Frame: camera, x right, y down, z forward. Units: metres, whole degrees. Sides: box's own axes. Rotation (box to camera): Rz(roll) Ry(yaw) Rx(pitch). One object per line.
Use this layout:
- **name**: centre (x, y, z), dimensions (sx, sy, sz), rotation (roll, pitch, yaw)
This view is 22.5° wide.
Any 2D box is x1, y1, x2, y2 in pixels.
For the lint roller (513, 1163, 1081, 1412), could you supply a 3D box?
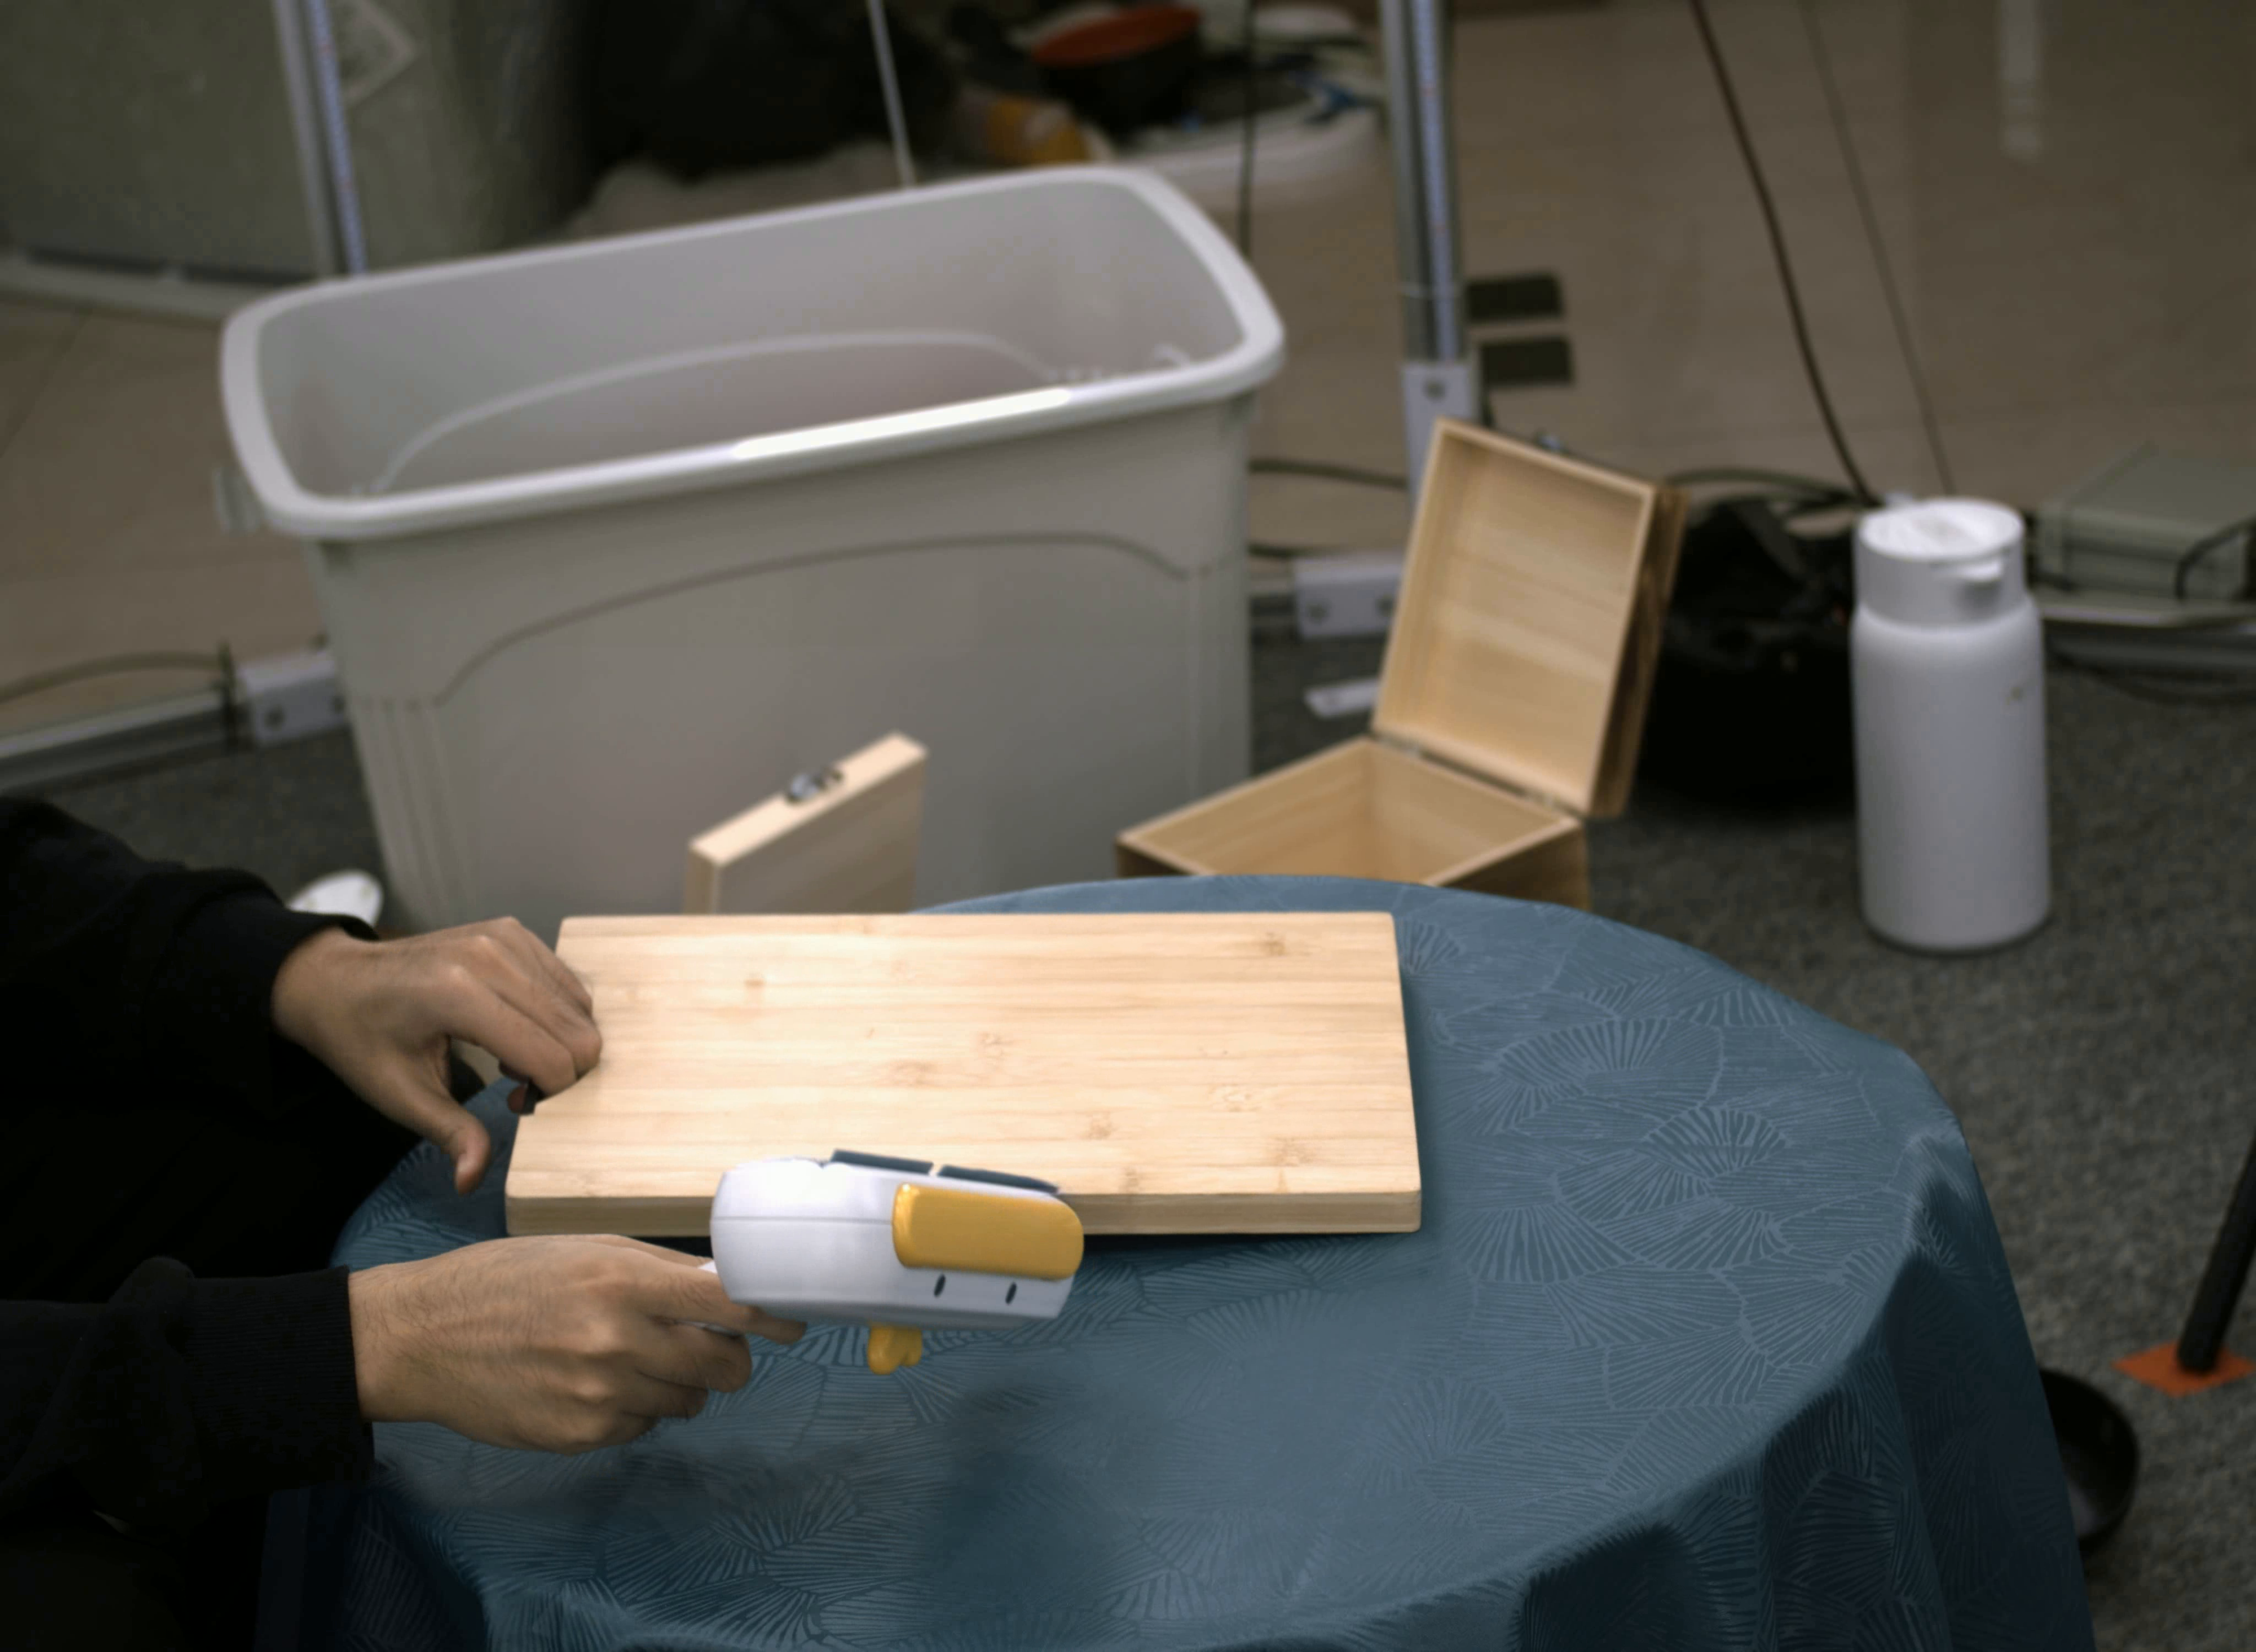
- **lint roller**: centre (-0.131, 0.161, 1.956), dimensions (0.192, 0.074, 0.193), rotation (-11, -6, 26)

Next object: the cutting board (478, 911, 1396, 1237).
- **cutting board**: centre (-0.067, 0.094, 2.199), dimensions (0.348, 0.024, 0.247), rotation (0, 25, 0)
